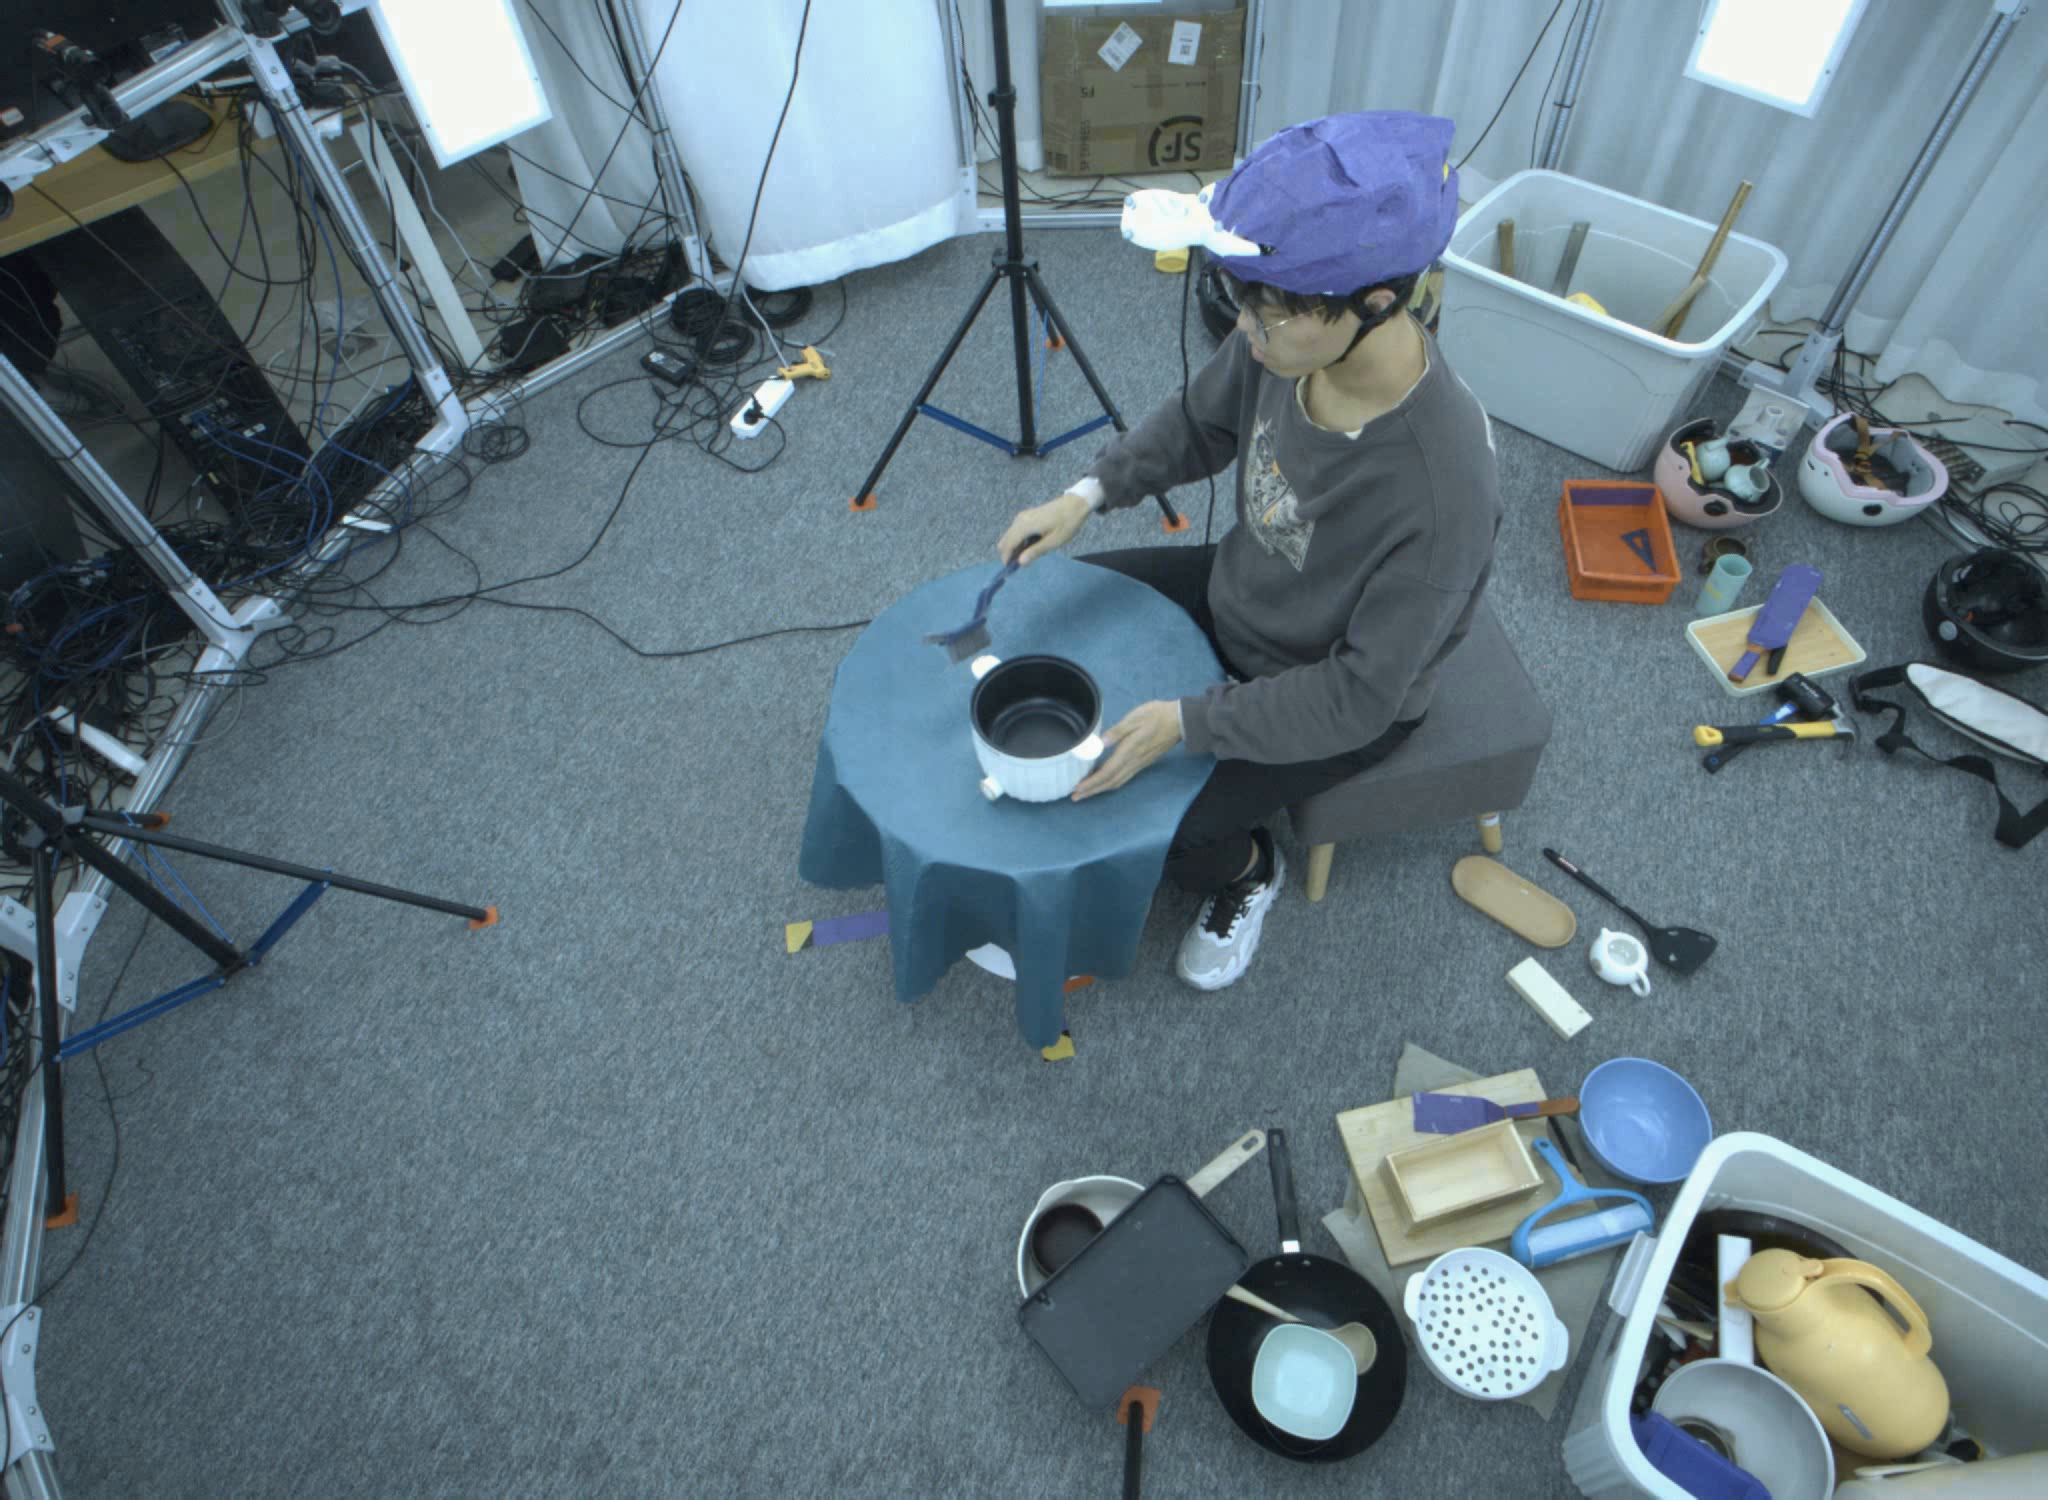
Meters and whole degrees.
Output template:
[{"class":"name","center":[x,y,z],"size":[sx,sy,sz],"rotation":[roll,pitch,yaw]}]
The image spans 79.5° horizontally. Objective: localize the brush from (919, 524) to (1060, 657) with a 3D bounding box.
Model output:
[{"class":"brush","center":[-0.045,-0.250,1.799],"size":[0.097,0.033,0.273],"rotation":[41,68,-23]}]

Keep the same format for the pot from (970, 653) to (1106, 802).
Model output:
[{"class":"pot","center":[0.017,-0.019,1.711],"size":[0.192,0.144,0.236],"rotation":[-37,59,-26]}]
